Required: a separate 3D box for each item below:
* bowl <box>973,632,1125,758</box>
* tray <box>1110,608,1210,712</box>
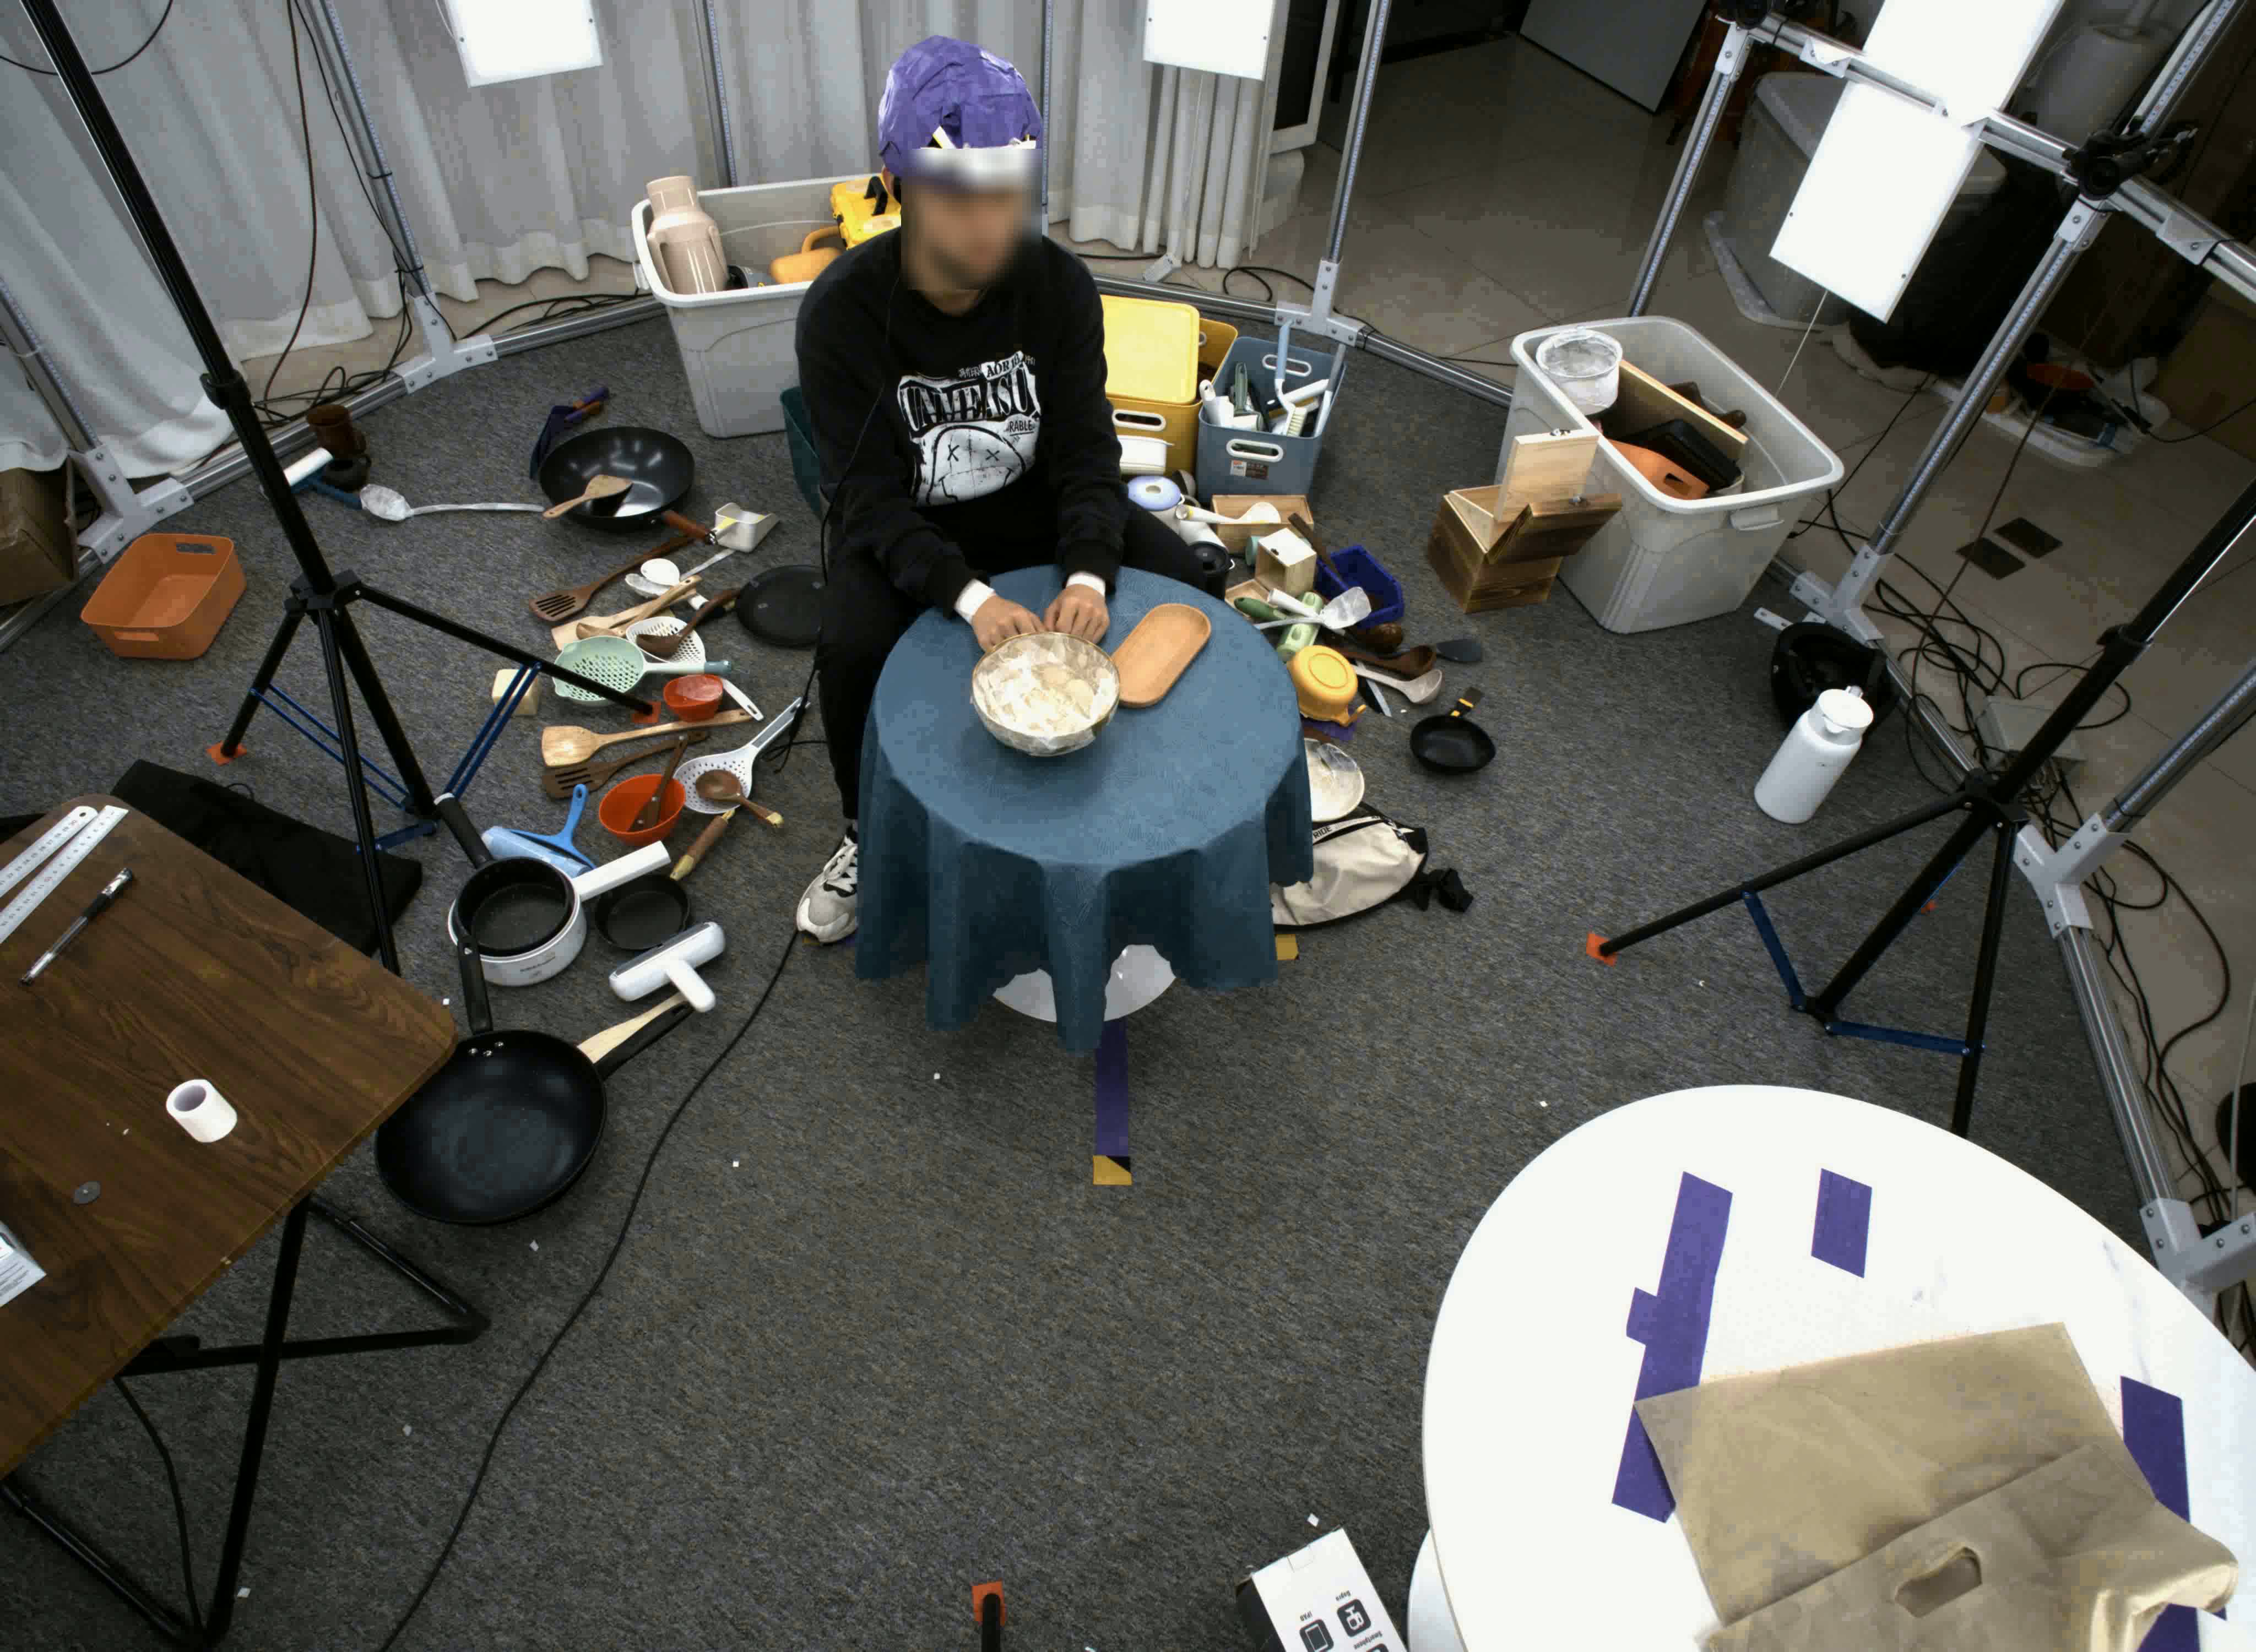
[{"bbox_3d":[-0.107,-0.166,1.762,0.214,0.092,0.220,1,48,-2],"label":"bowl"},{"bbox_3d":[0.042,-0.247,1.893,0.102,0.020,0.235,22,53,18],"label":"tray"}]
